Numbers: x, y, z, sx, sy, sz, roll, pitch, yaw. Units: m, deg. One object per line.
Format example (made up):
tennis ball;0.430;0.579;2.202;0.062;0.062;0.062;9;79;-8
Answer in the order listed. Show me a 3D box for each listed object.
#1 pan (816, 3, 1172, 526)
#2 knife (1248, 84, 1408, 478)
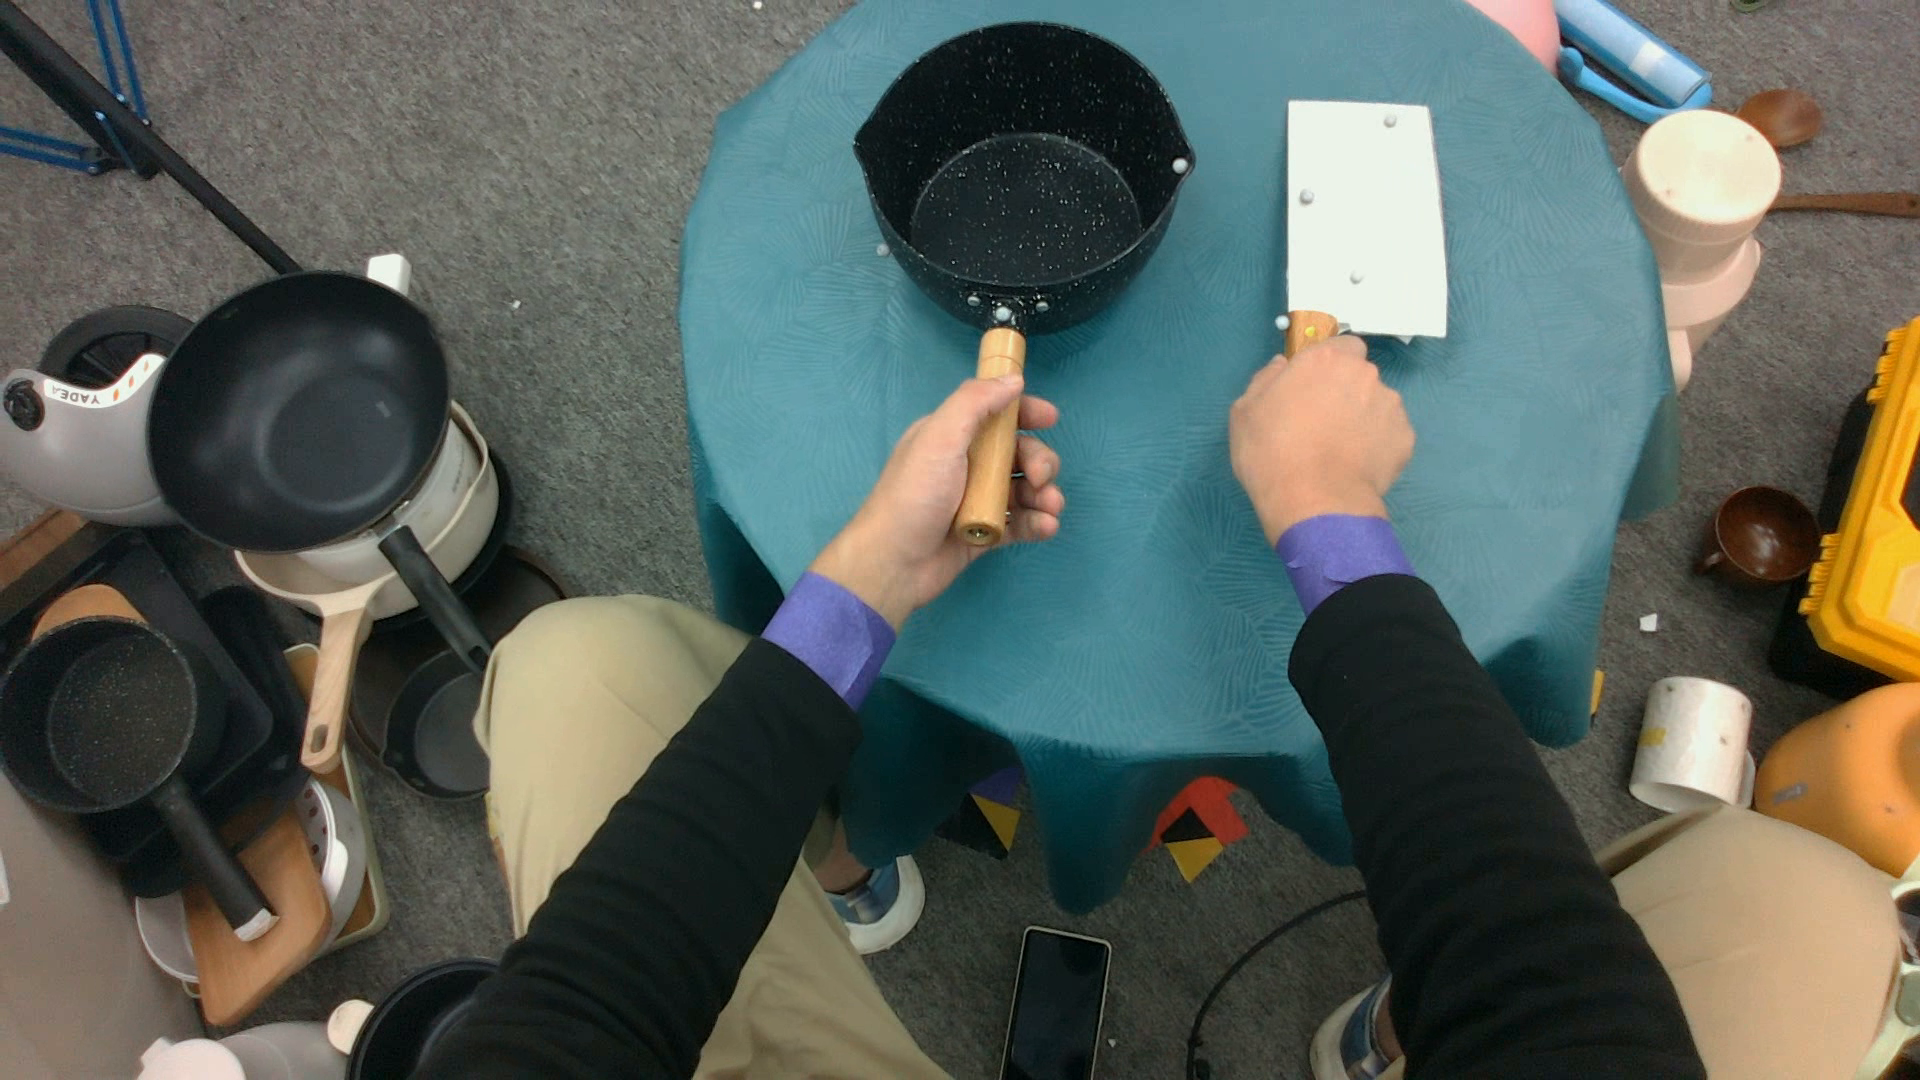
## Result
pan;0.015;-0.152;0.796;0.207;0.108;0.344;3;68;4
knife;0.219;-0.165;0.821;0.093;0.021;0.307;5;60;4
